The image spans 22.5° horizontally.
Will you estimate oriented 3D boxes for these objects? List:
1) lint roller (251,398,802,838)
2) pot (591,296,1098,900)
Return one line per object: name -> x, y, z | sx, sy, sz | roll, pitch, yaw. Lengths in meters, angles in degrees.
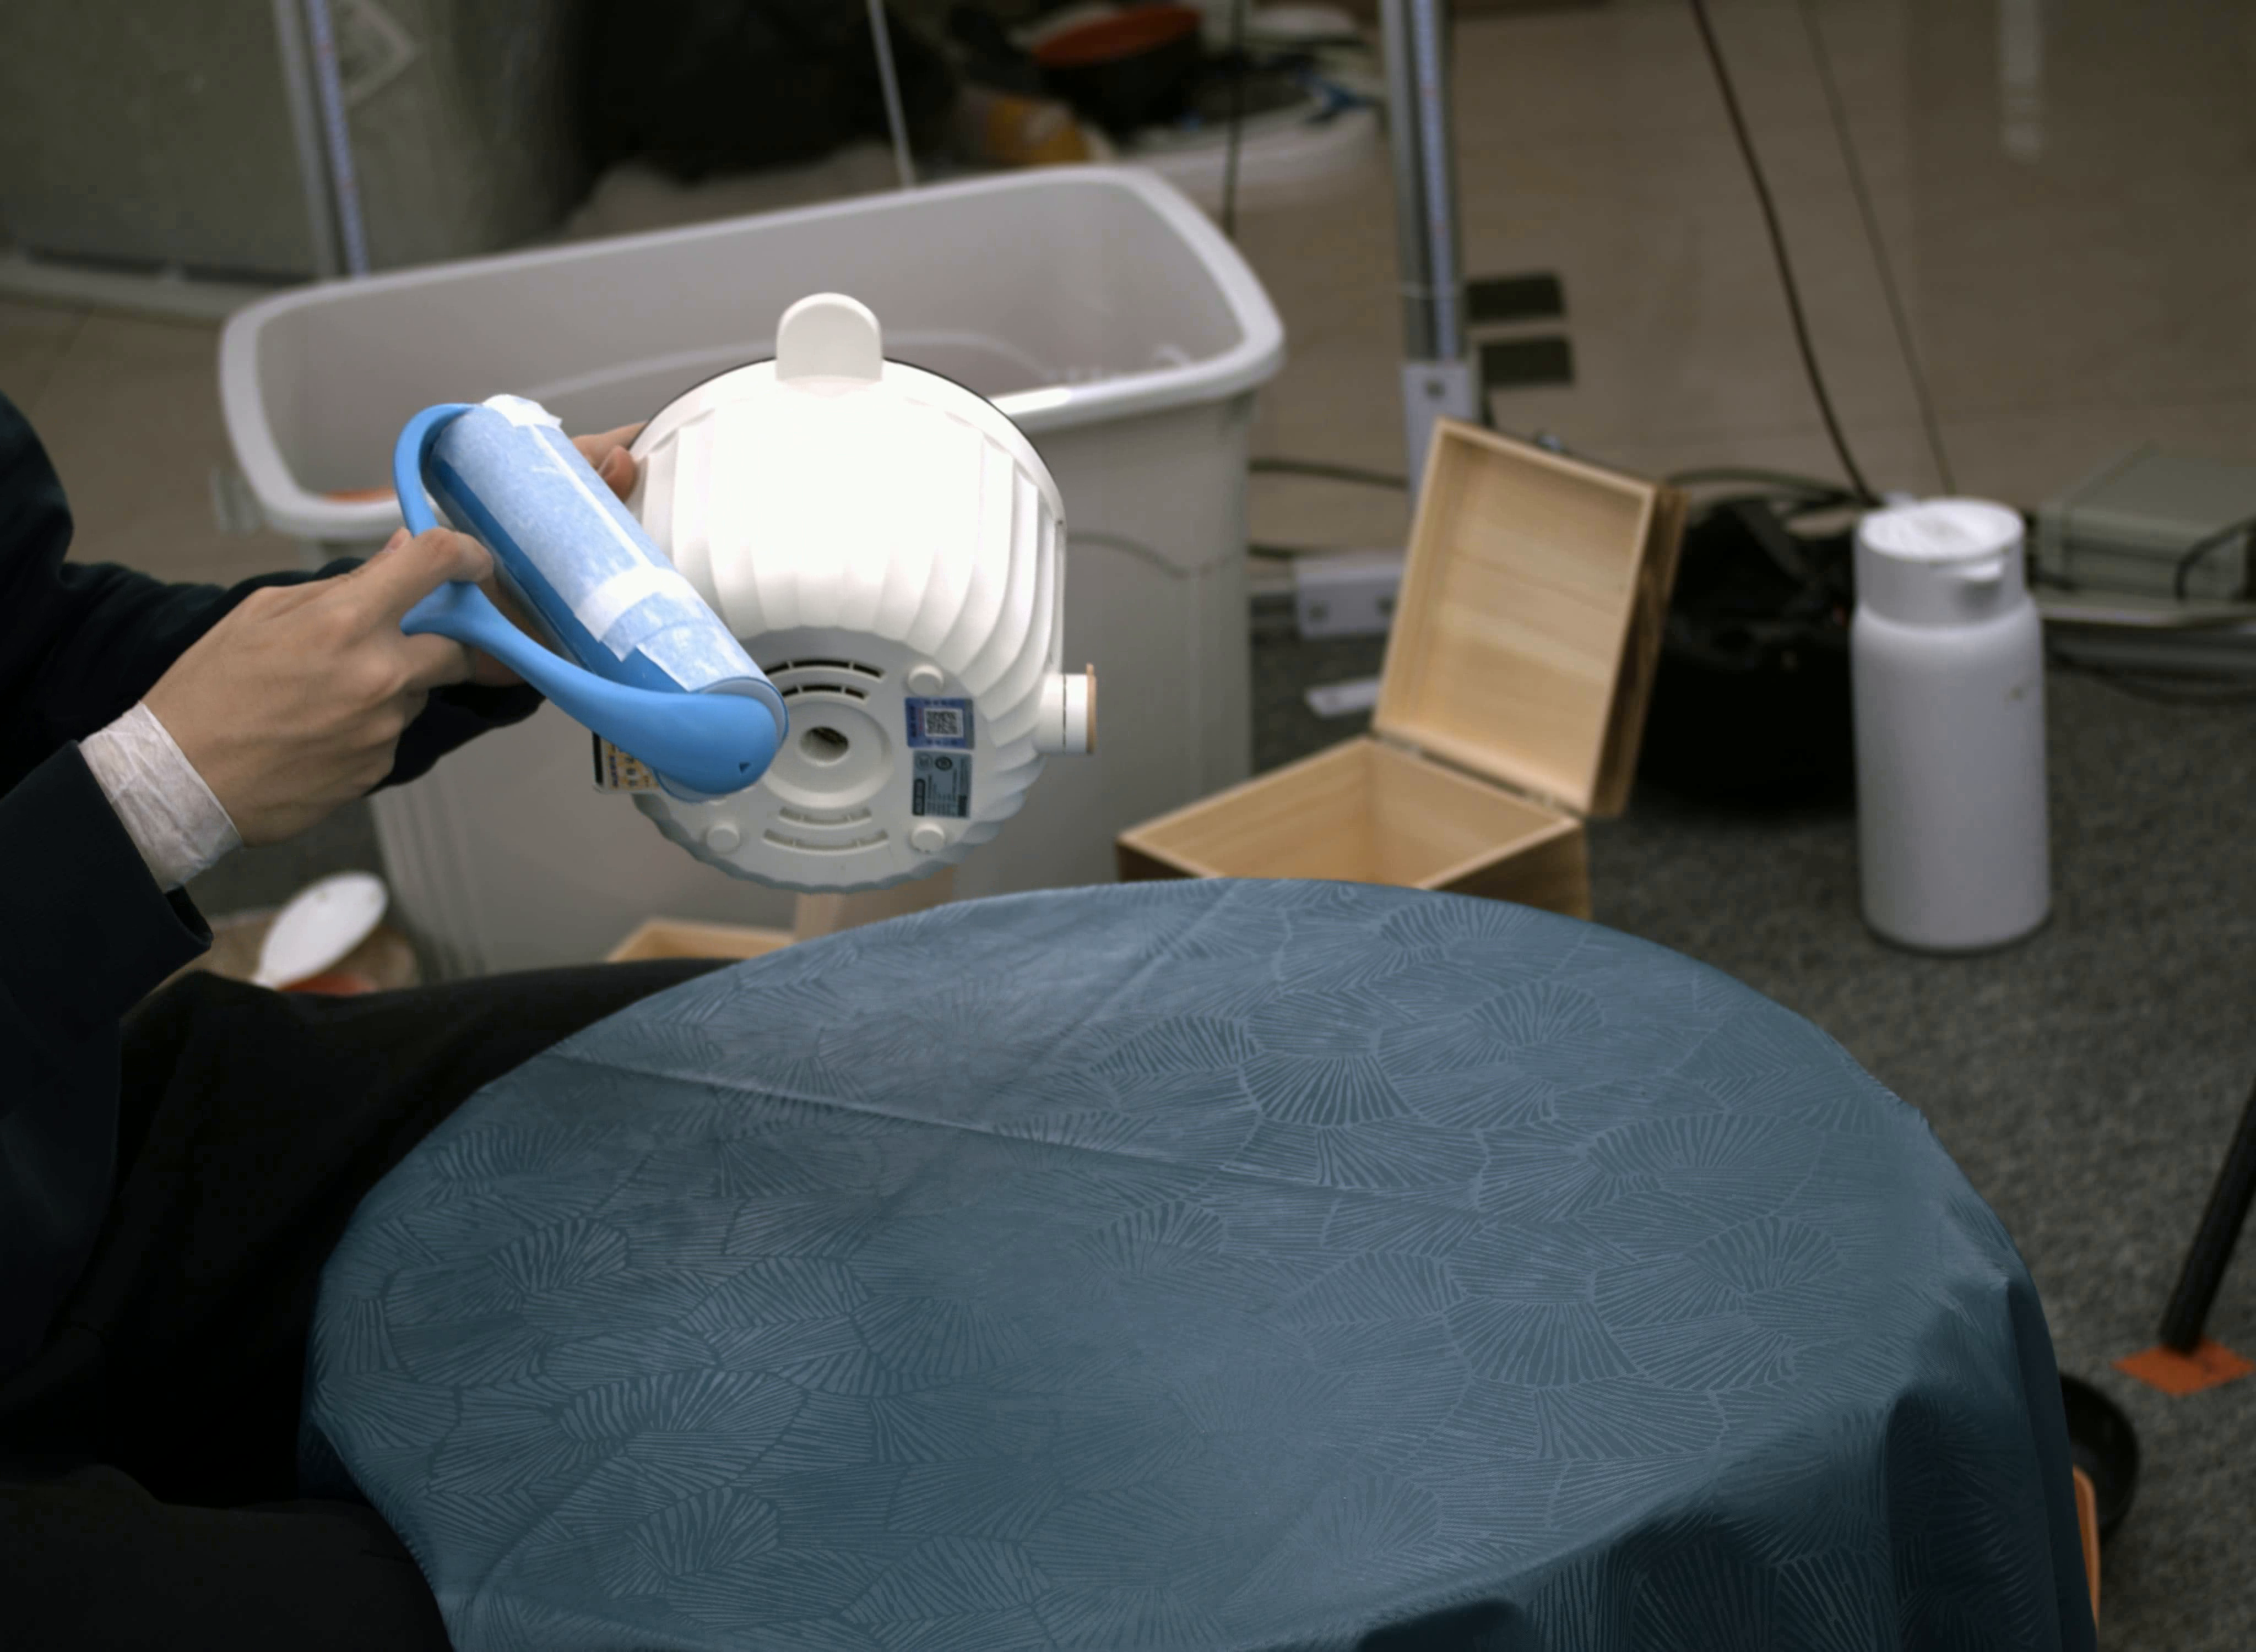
lint roller -> -0.236, -0.058, 2.022 | 0.179, 0.069, 0.226 | -29, 50, -19
pot -> -0.108, -0.066, 2.153 | 0.190, 0.245, 0.140 | -1, 44, -3
